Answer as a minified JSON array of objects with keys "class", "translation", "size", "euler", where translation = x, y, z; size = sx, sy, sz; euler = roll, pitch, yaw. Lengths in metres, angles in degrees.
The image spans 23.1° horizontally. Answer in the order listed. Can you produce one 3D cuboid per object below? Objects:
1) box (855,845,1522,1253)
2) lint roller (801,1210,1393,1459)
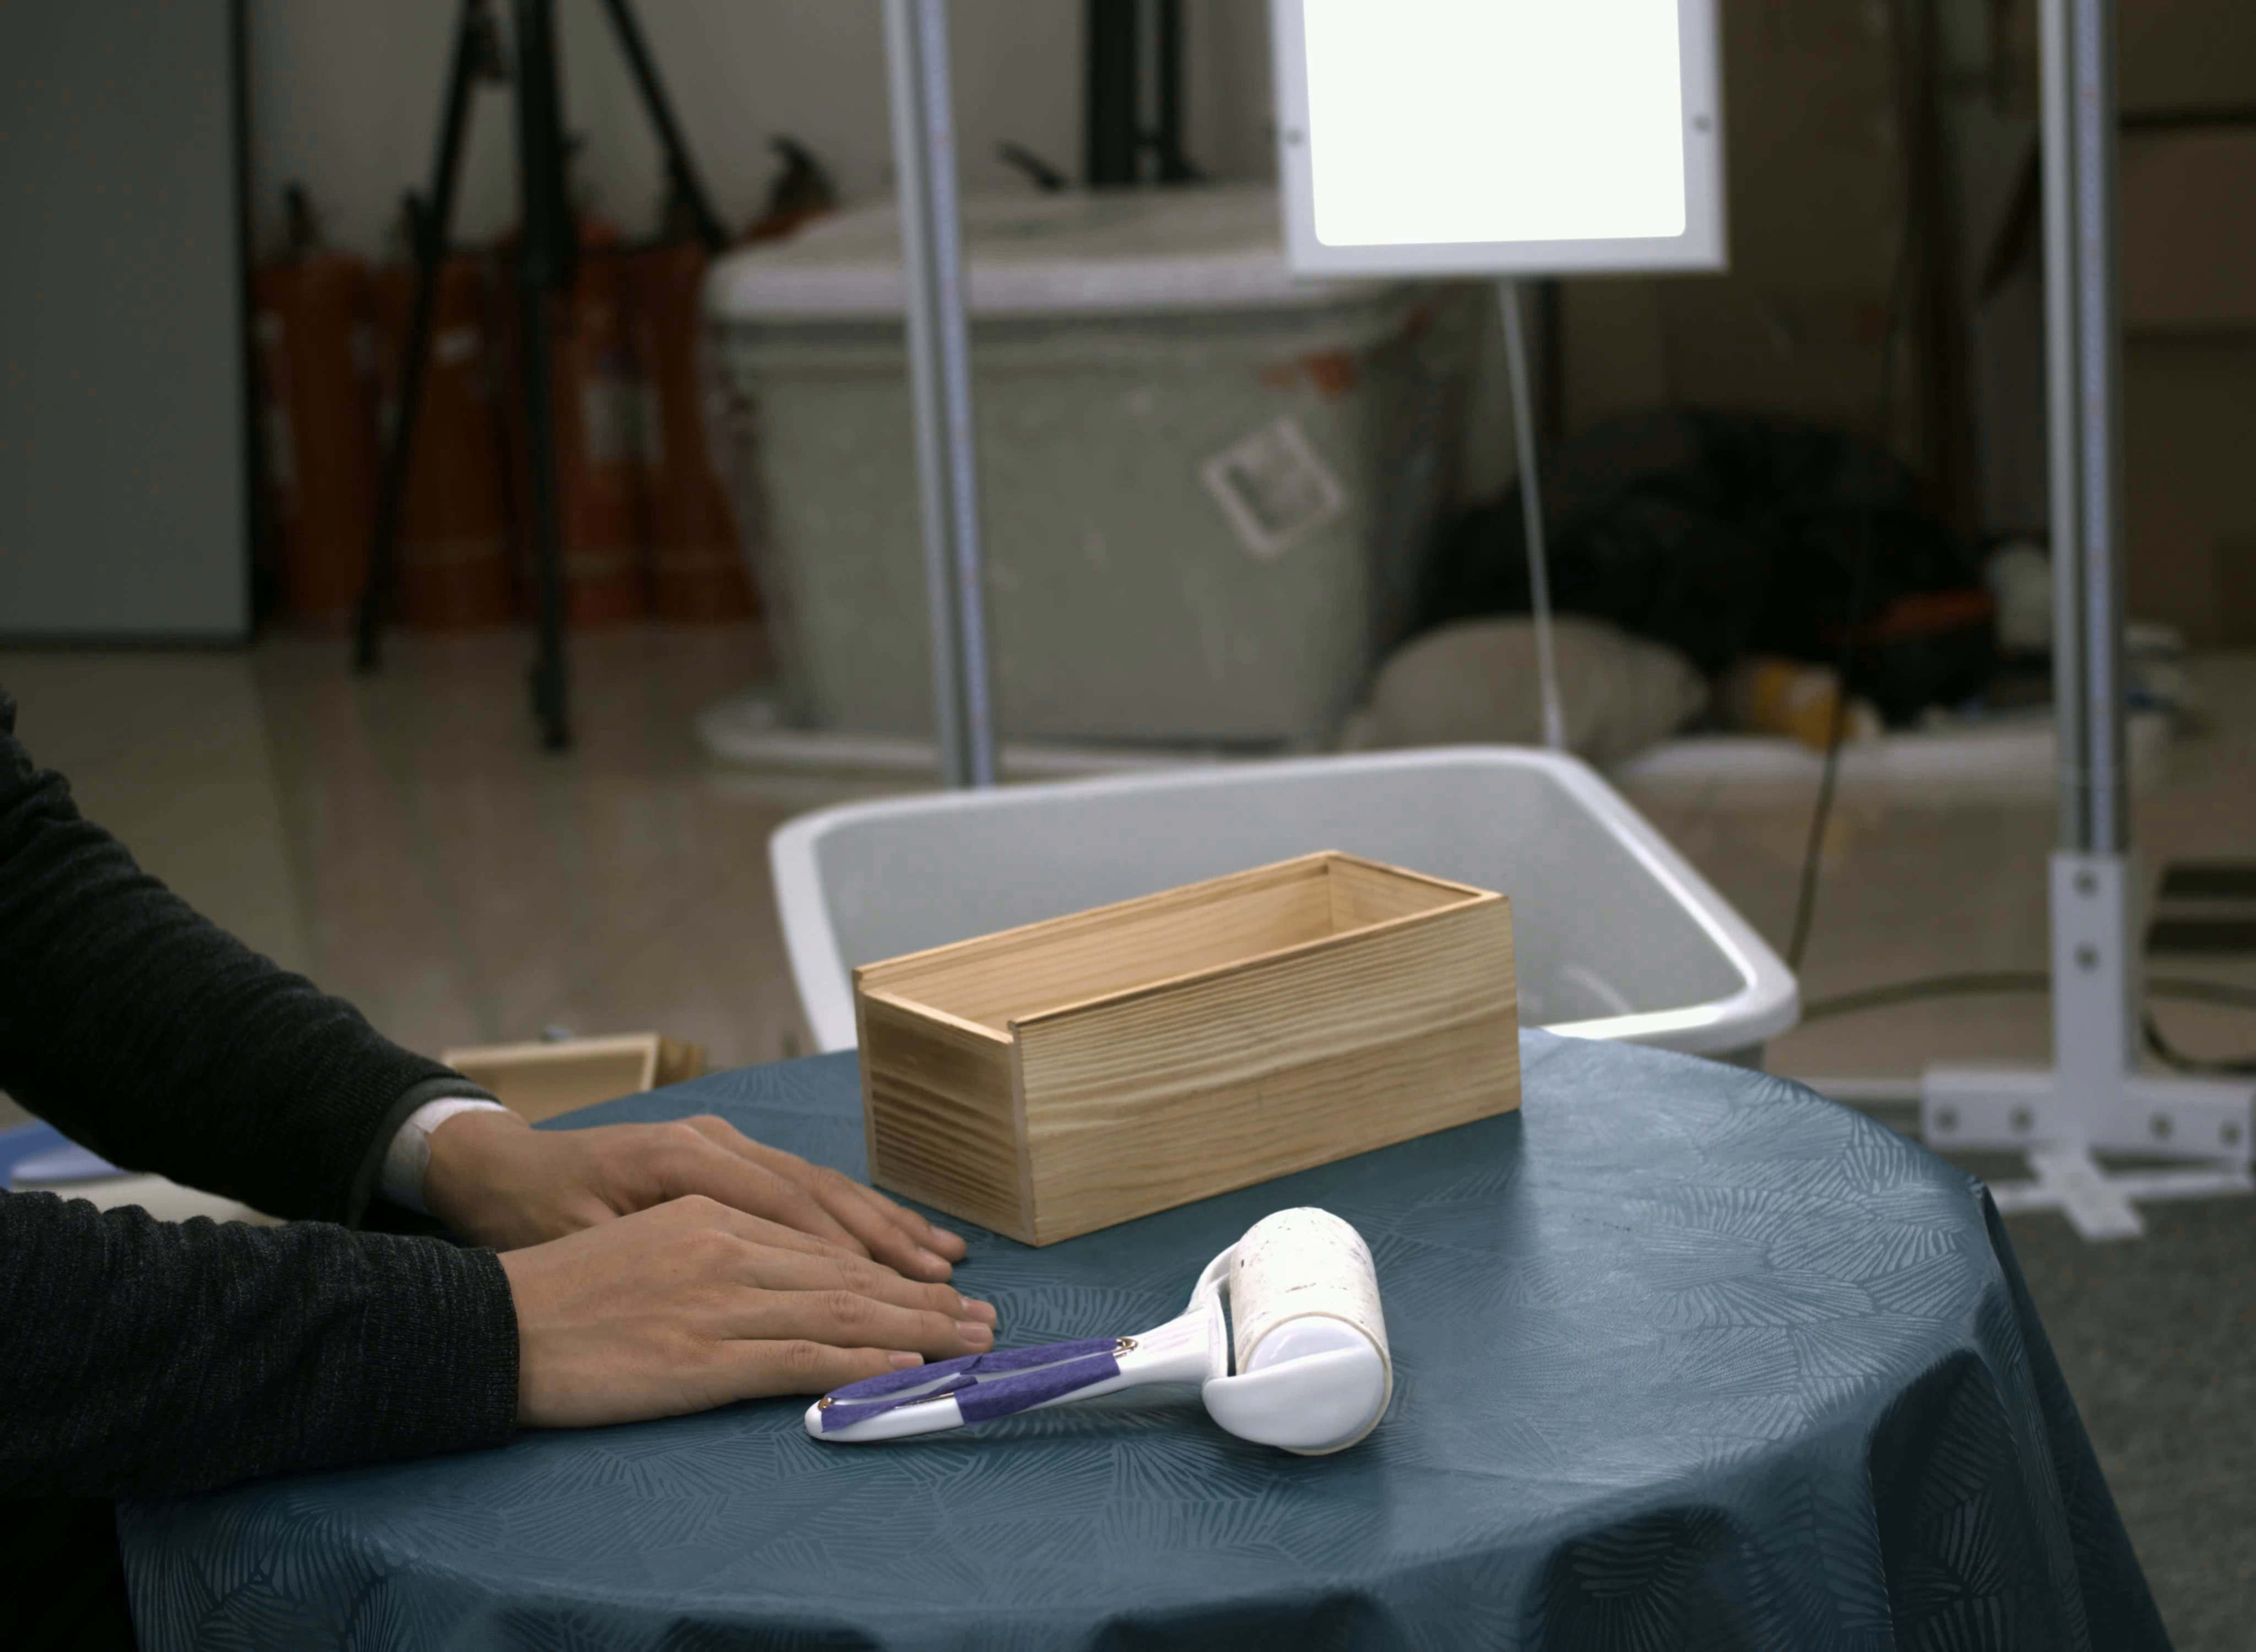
[{"class":"box","translation":[0.023,0.075,1.932],"size":[0.206,0.080,0.109],"euler":[-15,17,-31]},{"class":"lint roller","translation":[-0.010,0.157,1.678],"size":[0.181,0.050,0.132],"euler":[-2,15,4]}]
